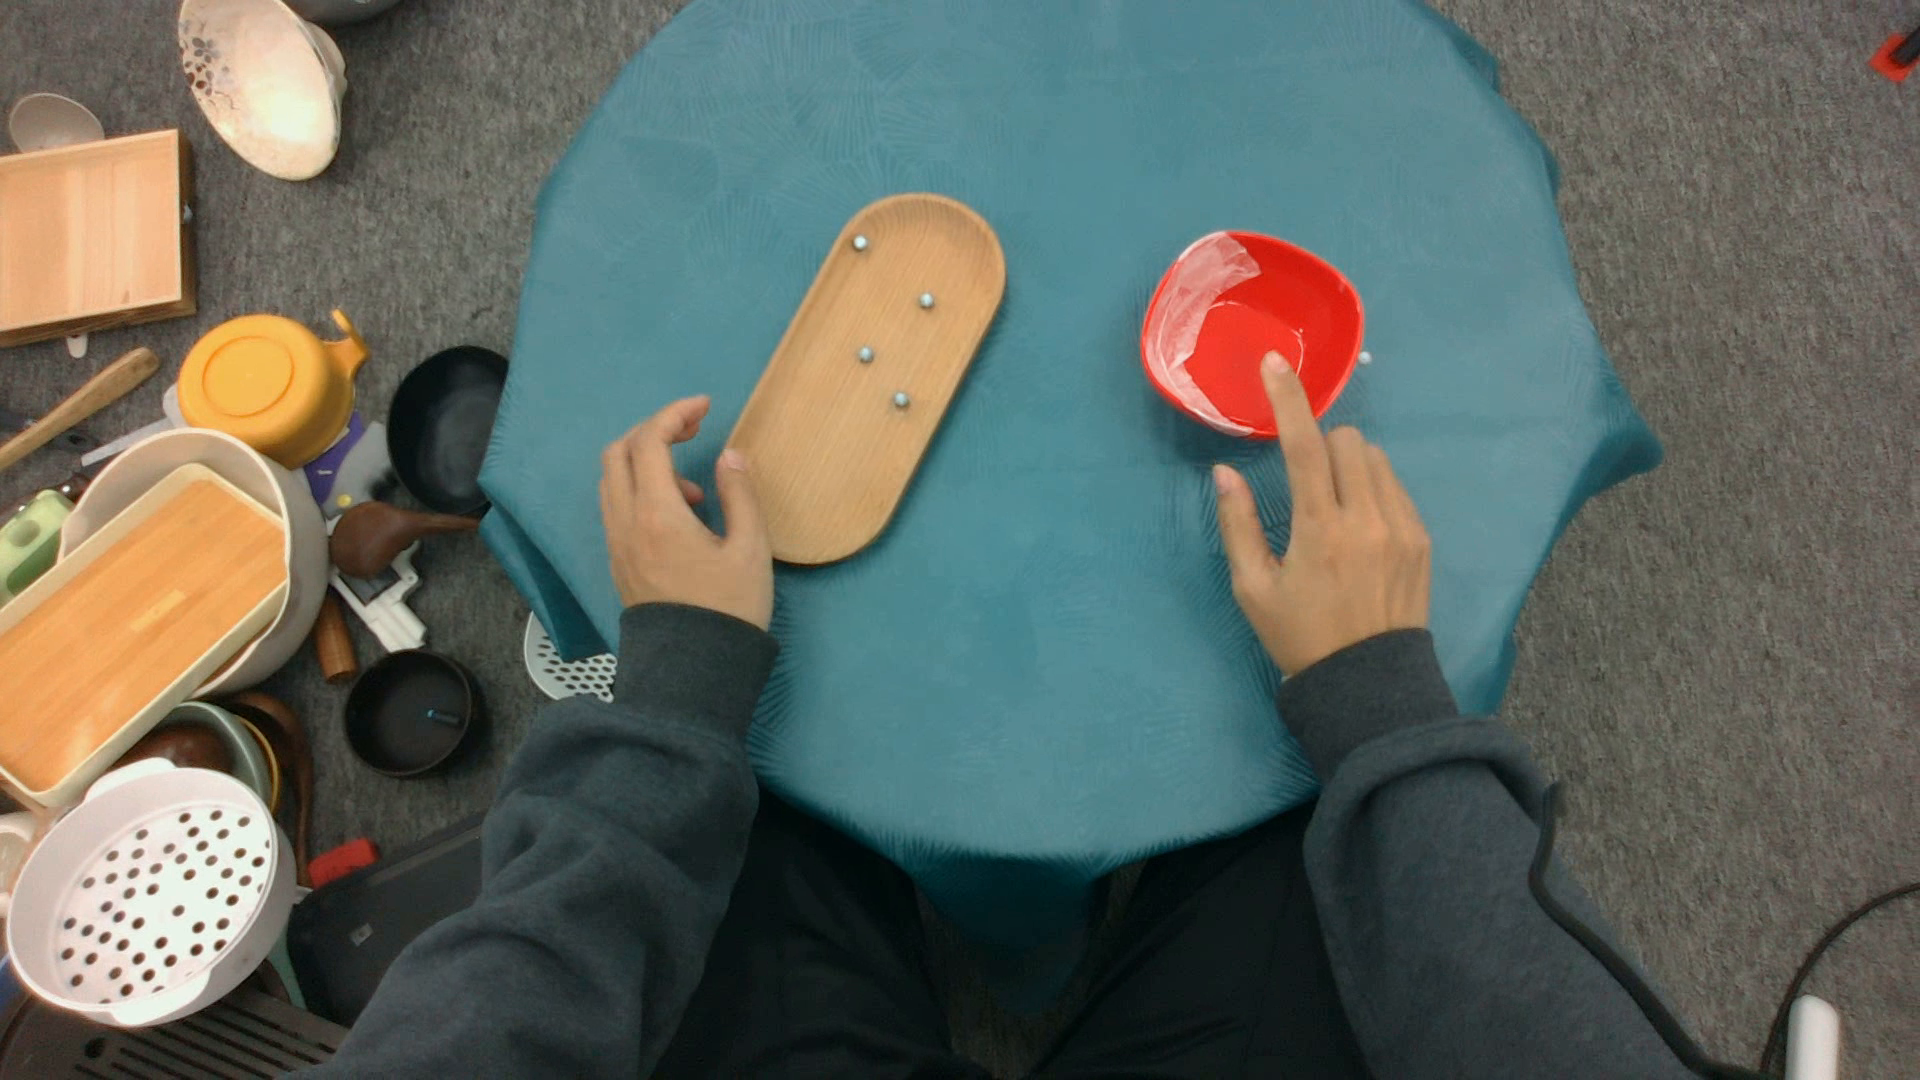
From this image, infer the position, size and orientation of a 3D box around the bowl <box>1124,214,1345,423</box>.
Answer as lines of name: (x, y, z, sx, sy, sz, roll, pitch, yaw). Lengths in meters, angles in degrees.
bowl: (0.143, -0.112, 0.741, 0.119, 0.051, 0.119, 0, 74, -1)

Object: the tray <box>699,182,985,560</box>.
tray: (-0.063, -0.096, 0.759, 0.101, 0.020, 0.231, 22, 77, 8)
